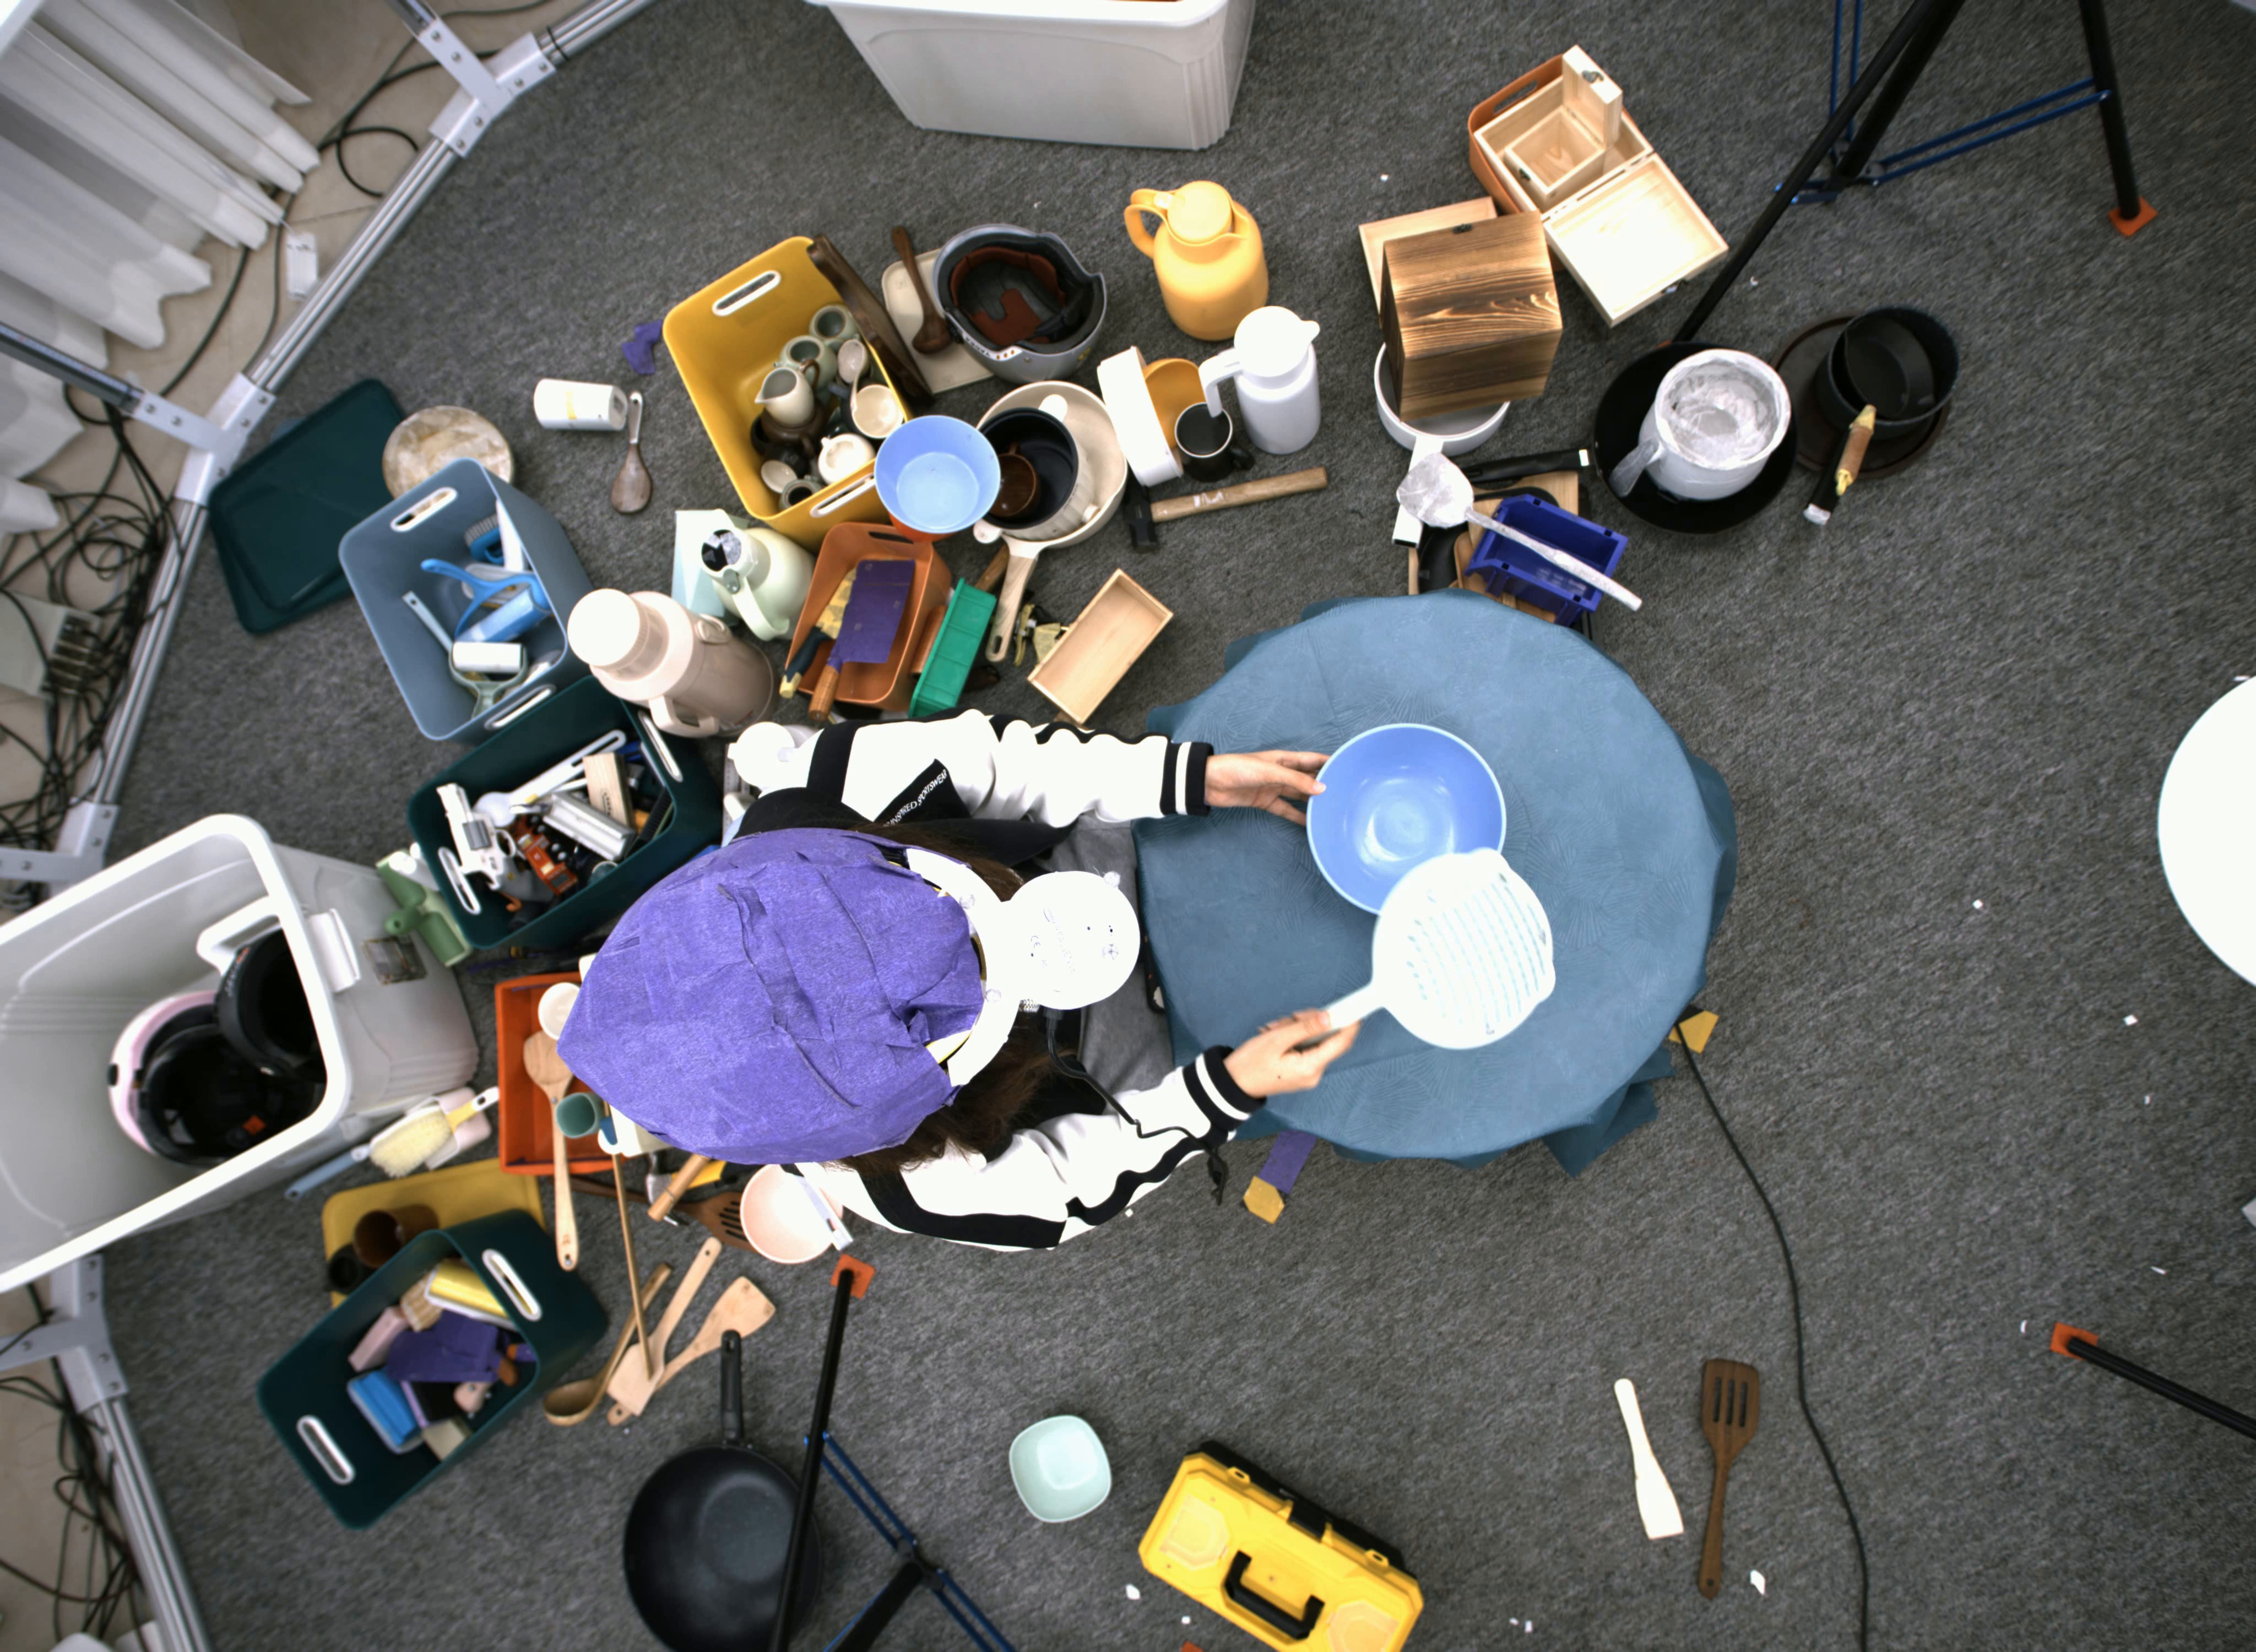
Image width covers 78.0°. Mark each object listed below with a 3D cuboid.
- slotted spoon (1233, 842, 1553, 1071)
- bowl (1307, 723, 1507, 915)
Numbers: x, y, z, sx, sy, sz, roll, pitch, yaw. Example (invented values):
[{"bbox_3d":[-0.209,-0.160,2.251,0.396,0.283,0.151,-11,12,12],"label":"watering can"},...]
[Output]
[{"bbox_3d":[0.229,0.152,1.288,0.364,0.075,0.167,-31,68,26],"label":"slotted spoon"},{"bbox_3d":[0.284,-0.002,1.414,0.197,0.095,0.195,-1,87,10],"label":"bowl"}]
